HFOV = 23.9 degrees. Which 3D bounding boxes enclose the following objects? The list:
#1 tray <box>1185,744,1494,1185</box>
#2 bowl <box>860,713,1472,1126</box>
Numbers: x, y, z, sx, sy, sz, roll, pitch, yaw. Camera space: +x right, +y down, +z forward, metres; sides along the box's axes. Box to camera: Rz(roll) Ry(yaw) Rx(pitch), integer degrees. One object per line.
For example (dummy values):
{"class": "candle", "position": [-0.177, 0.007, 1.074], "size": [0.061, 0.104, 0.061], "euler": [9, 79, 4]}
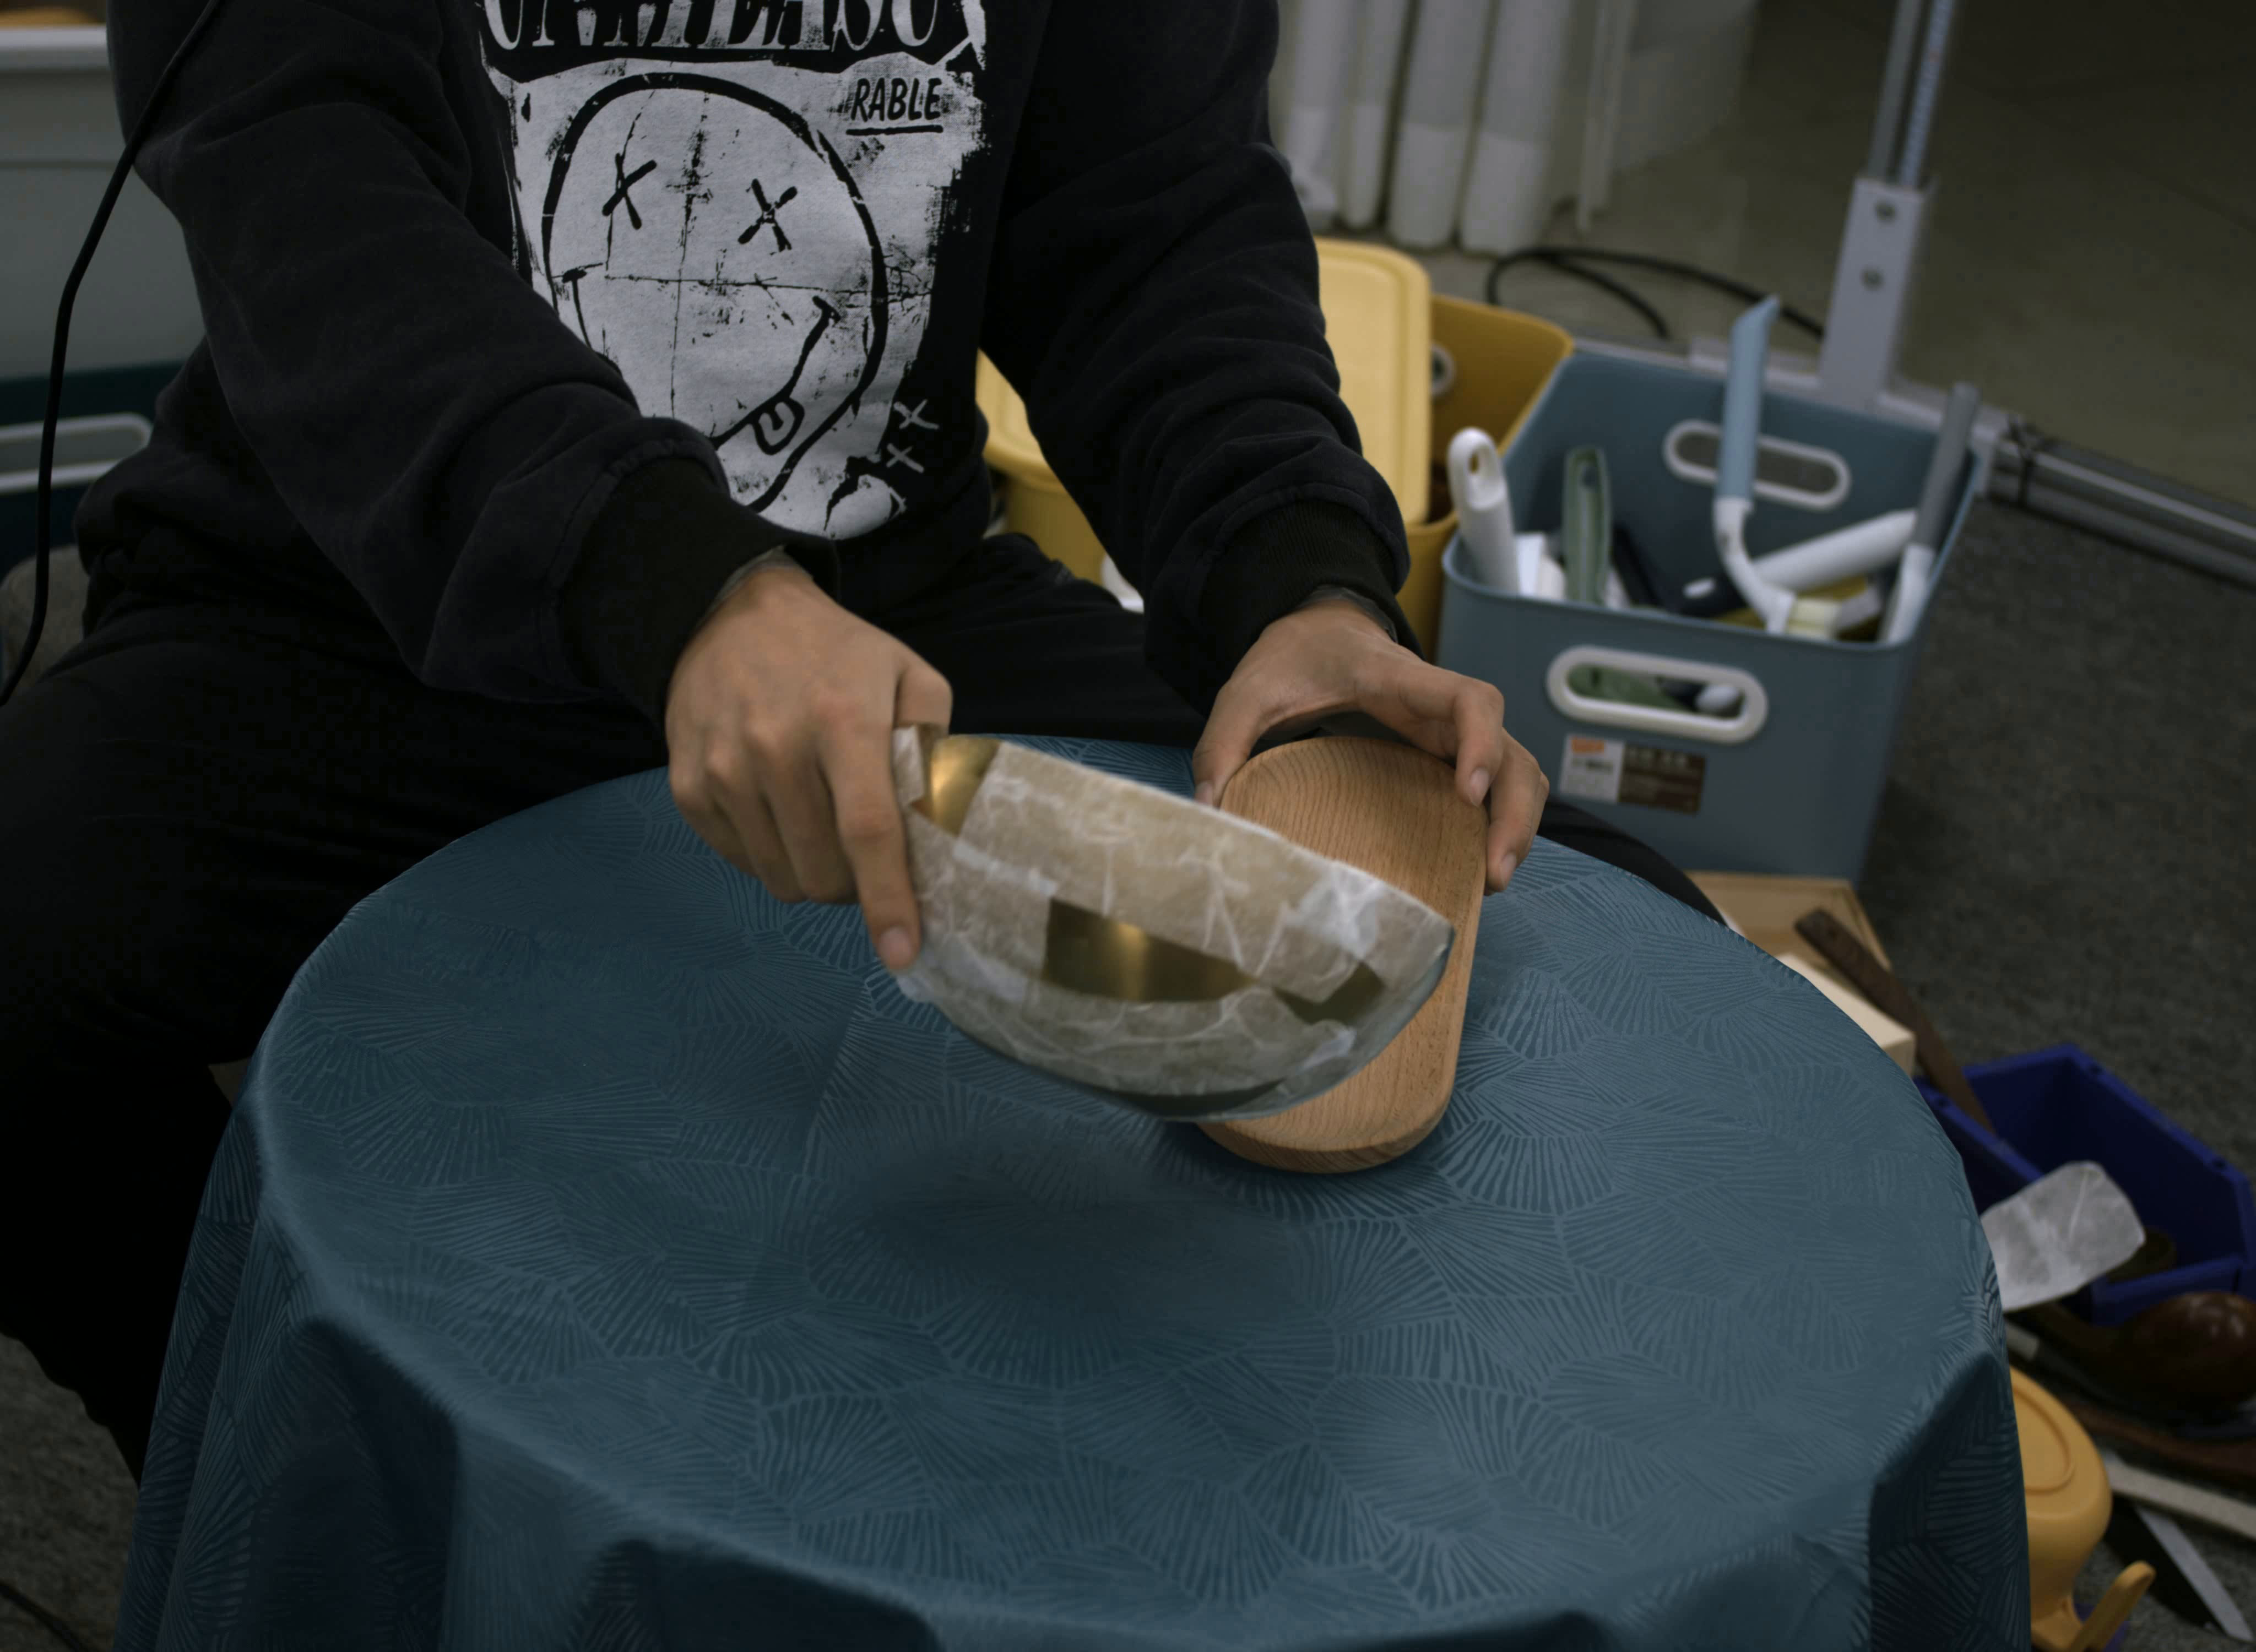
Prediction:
{"class": "tray", "position": [0.075, 0.047, 1.902], "size": [0.101, 0.020, 0.232], "euler": [5, 40, 5]}
{"class": "bowl", "position": [-0.001, 0.043, 1.732], "size": [0.214, 0.095, 0.214], "euler": [19, -5, 1]}
